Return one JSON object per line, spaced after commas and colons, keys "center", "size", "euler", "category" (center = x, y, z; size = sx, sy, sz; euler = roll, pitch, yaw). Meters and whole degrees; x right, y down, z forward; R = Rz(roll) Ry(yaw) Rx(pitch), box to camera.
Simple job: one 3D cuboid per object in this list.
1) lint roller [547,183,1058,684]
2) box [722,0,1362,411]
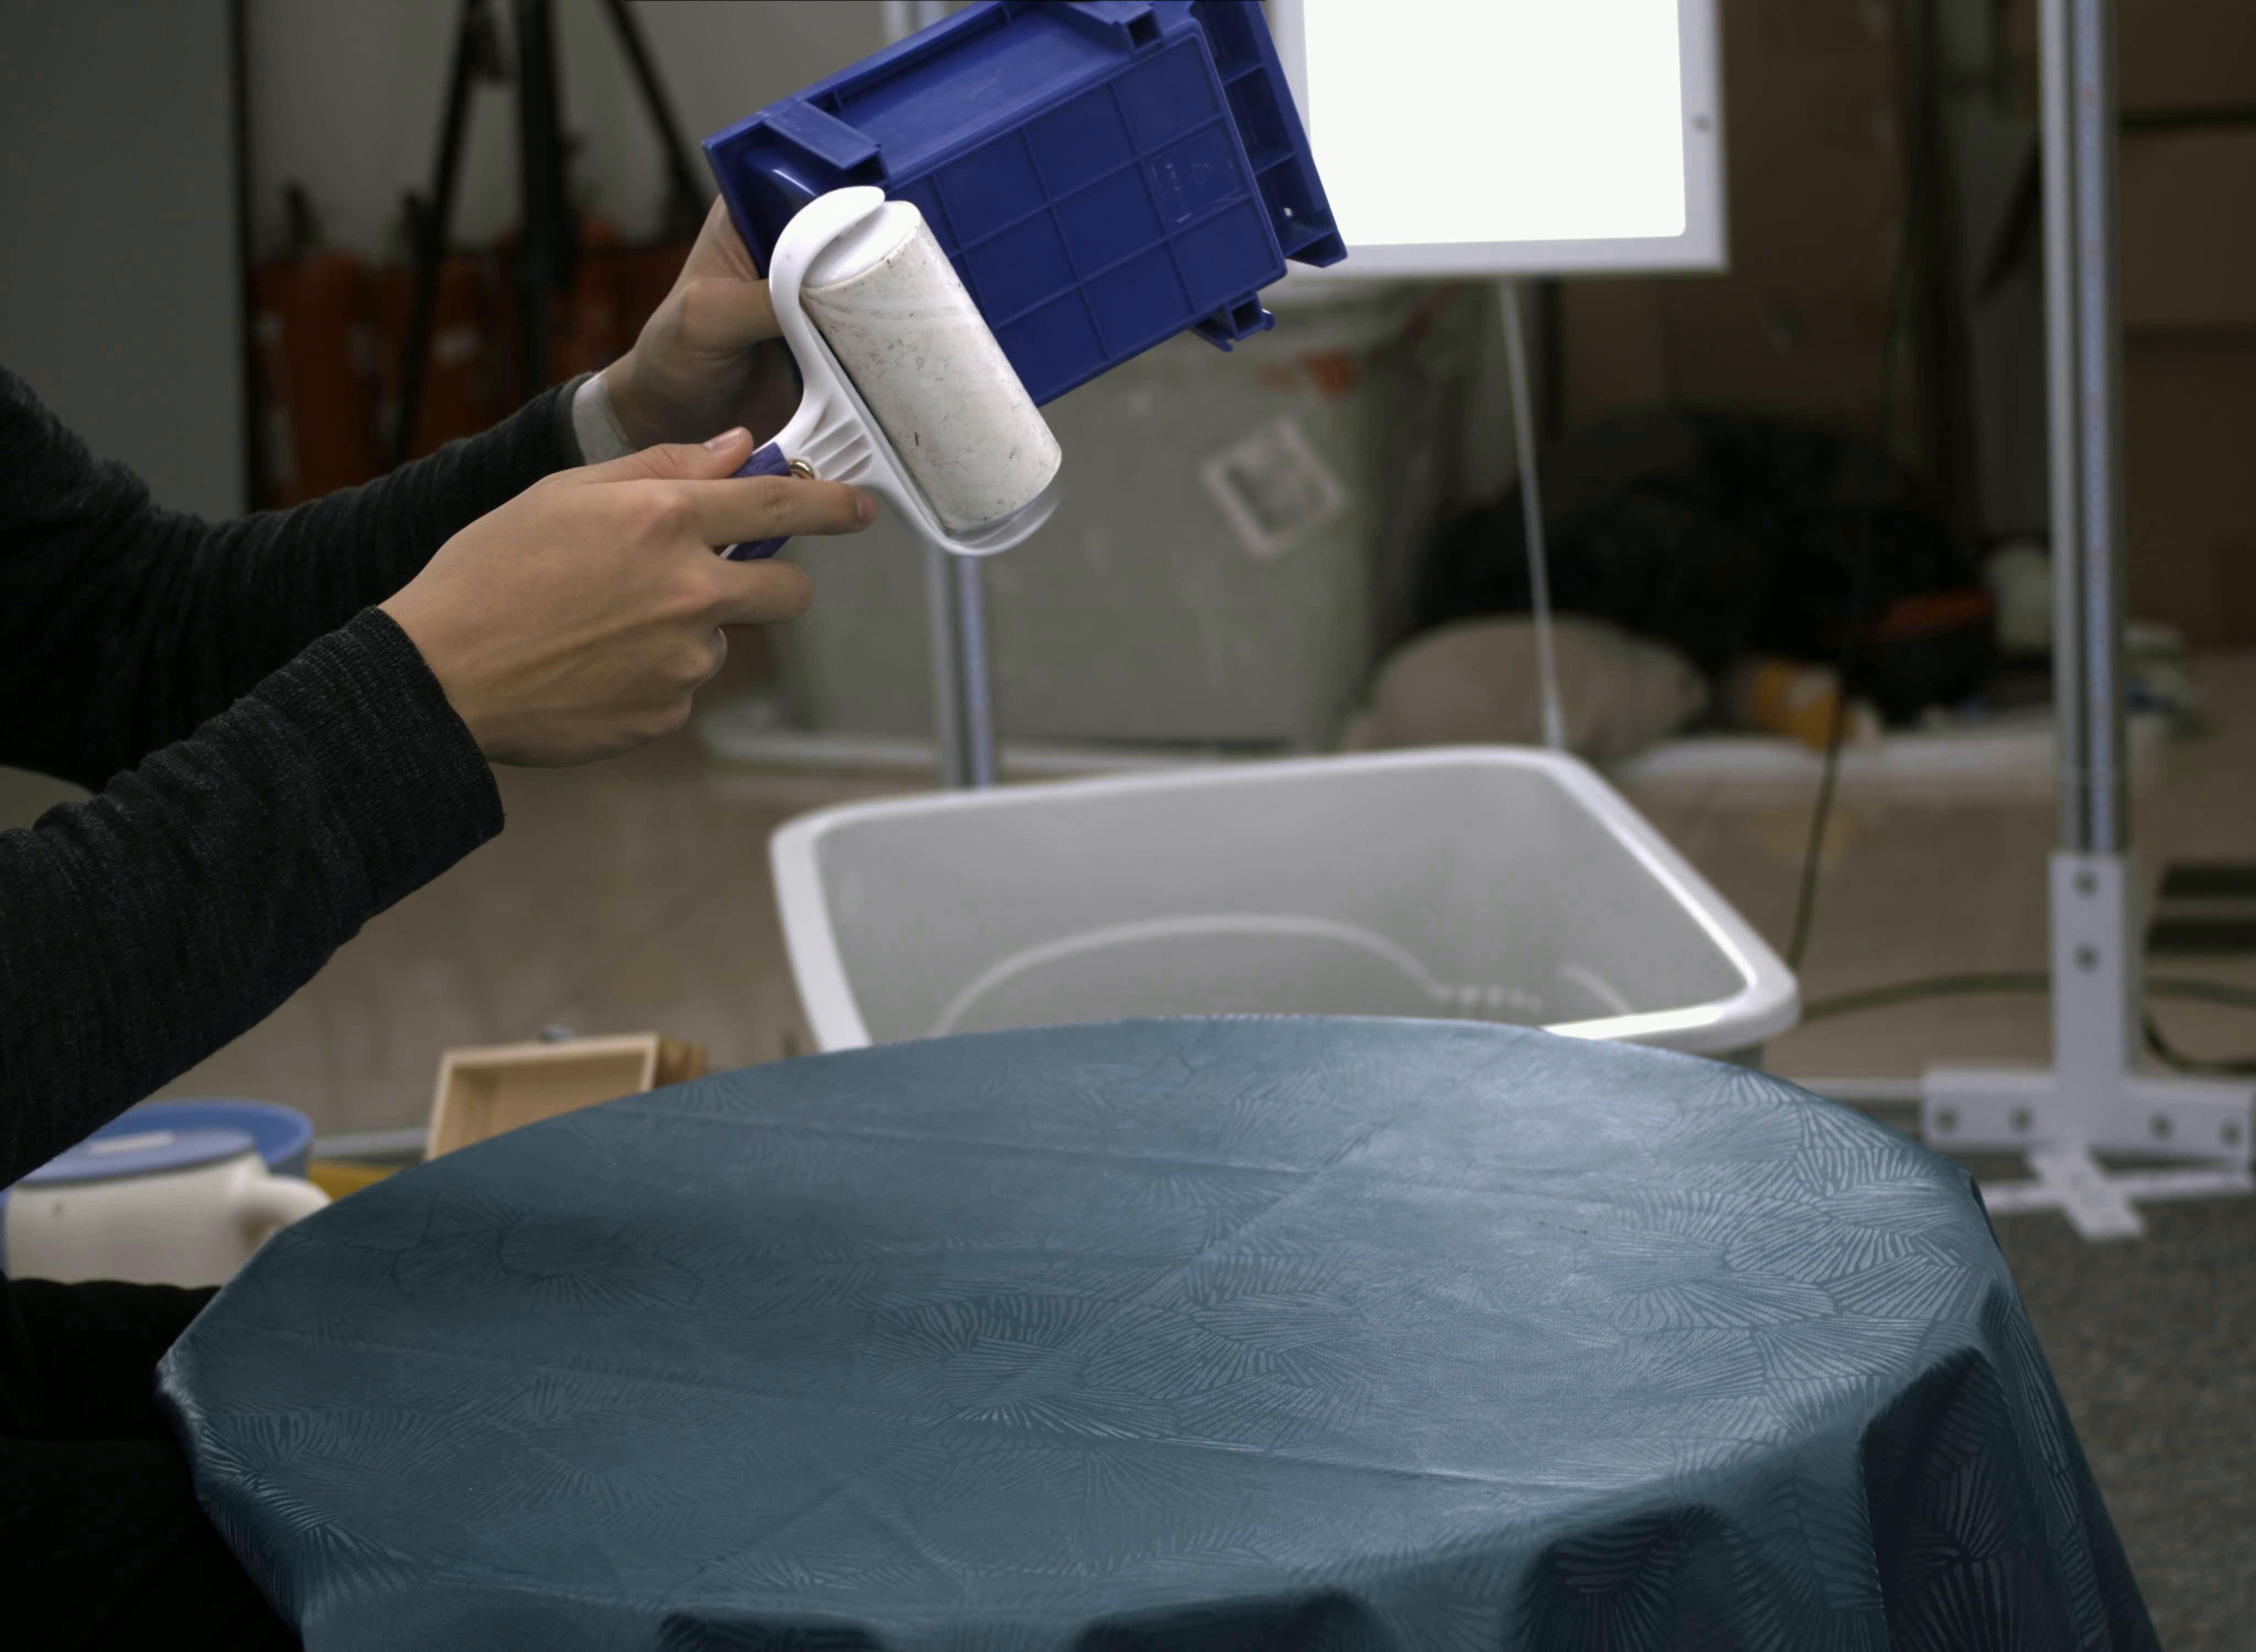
{"center": [-0.110, -0.107, 1.744], "size": [0.178, 0.132, 0.051], "euler": [-43, 32, -20], "category": "lint roller"}
{"center": [-0.022, -0.211, 1.834], "size": [0.177, 0.124, 0.083], "euler": [-31, 28, -14], "category": "box"}
